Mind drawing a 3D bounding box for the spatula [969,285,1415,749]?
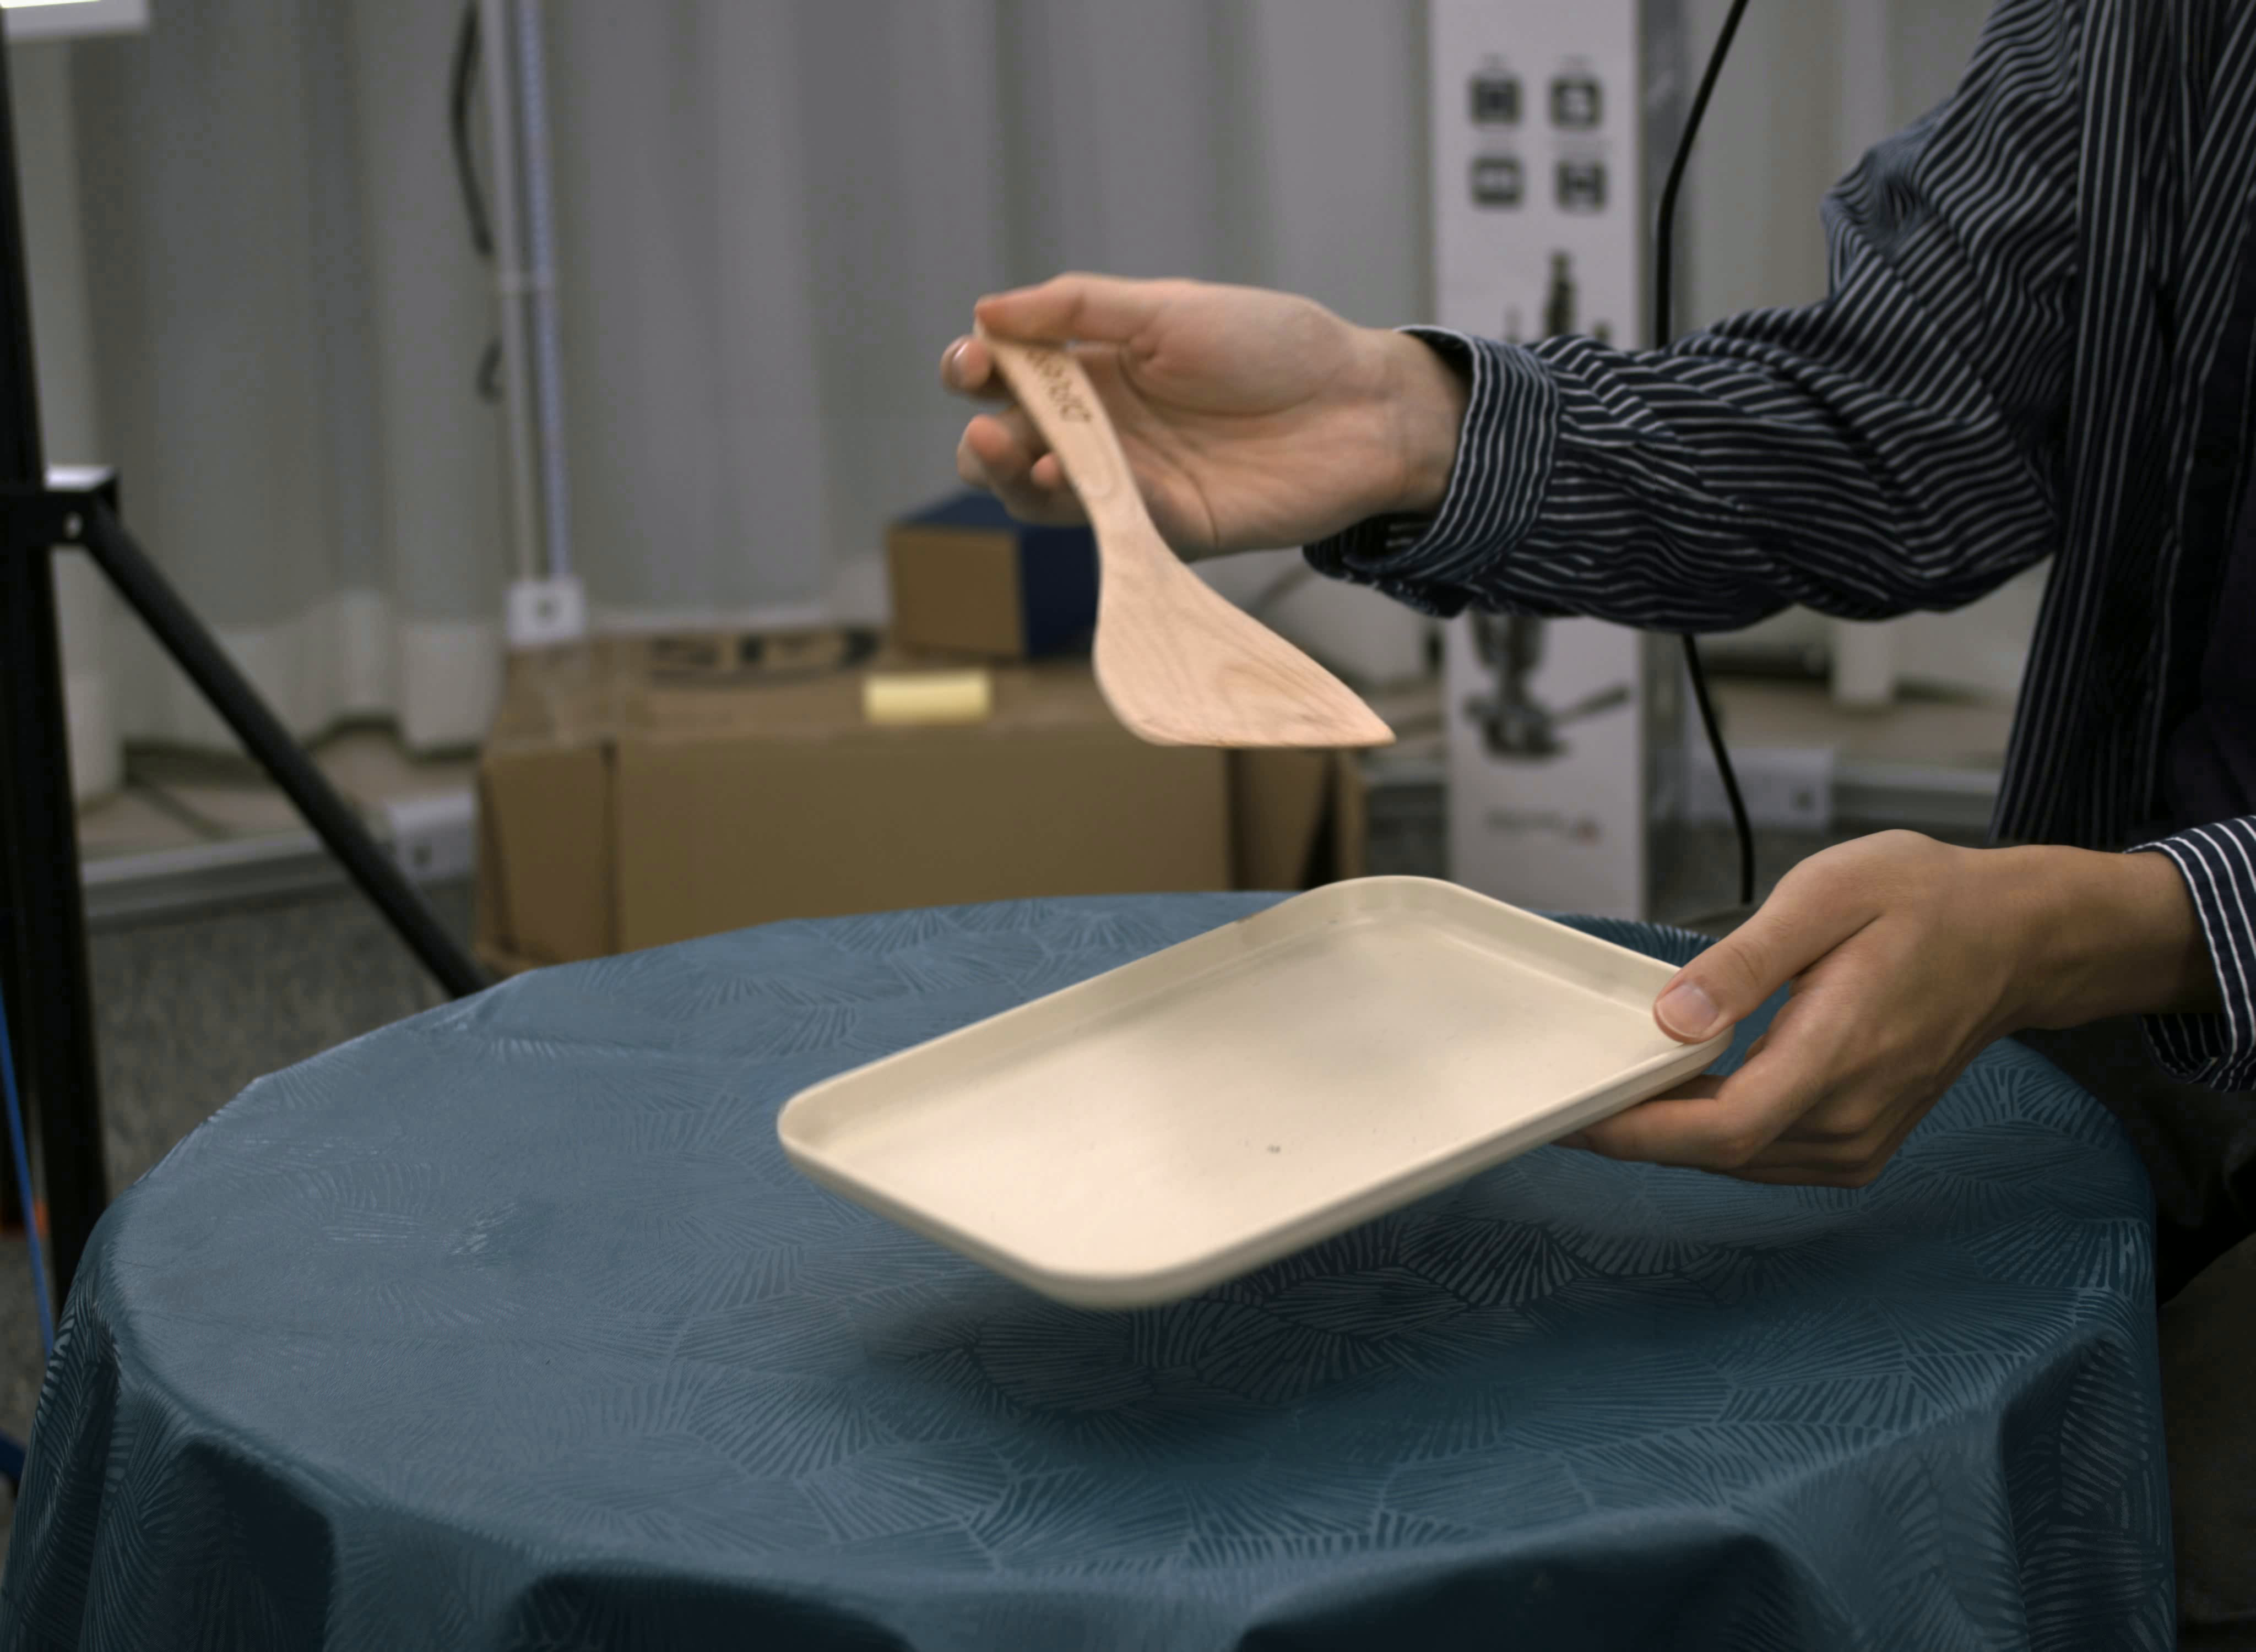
[{"bbox_3d":[0.004,-0.096,1.613,0.078,0.016,0.333,4,28,-20],"label":"spatula"}]

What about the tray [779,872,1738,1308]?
[{"bbox_3d":[0.037,0.071,1.464,0.235,0.017,0.175,-20,25,-31],"label":"tray"}]
